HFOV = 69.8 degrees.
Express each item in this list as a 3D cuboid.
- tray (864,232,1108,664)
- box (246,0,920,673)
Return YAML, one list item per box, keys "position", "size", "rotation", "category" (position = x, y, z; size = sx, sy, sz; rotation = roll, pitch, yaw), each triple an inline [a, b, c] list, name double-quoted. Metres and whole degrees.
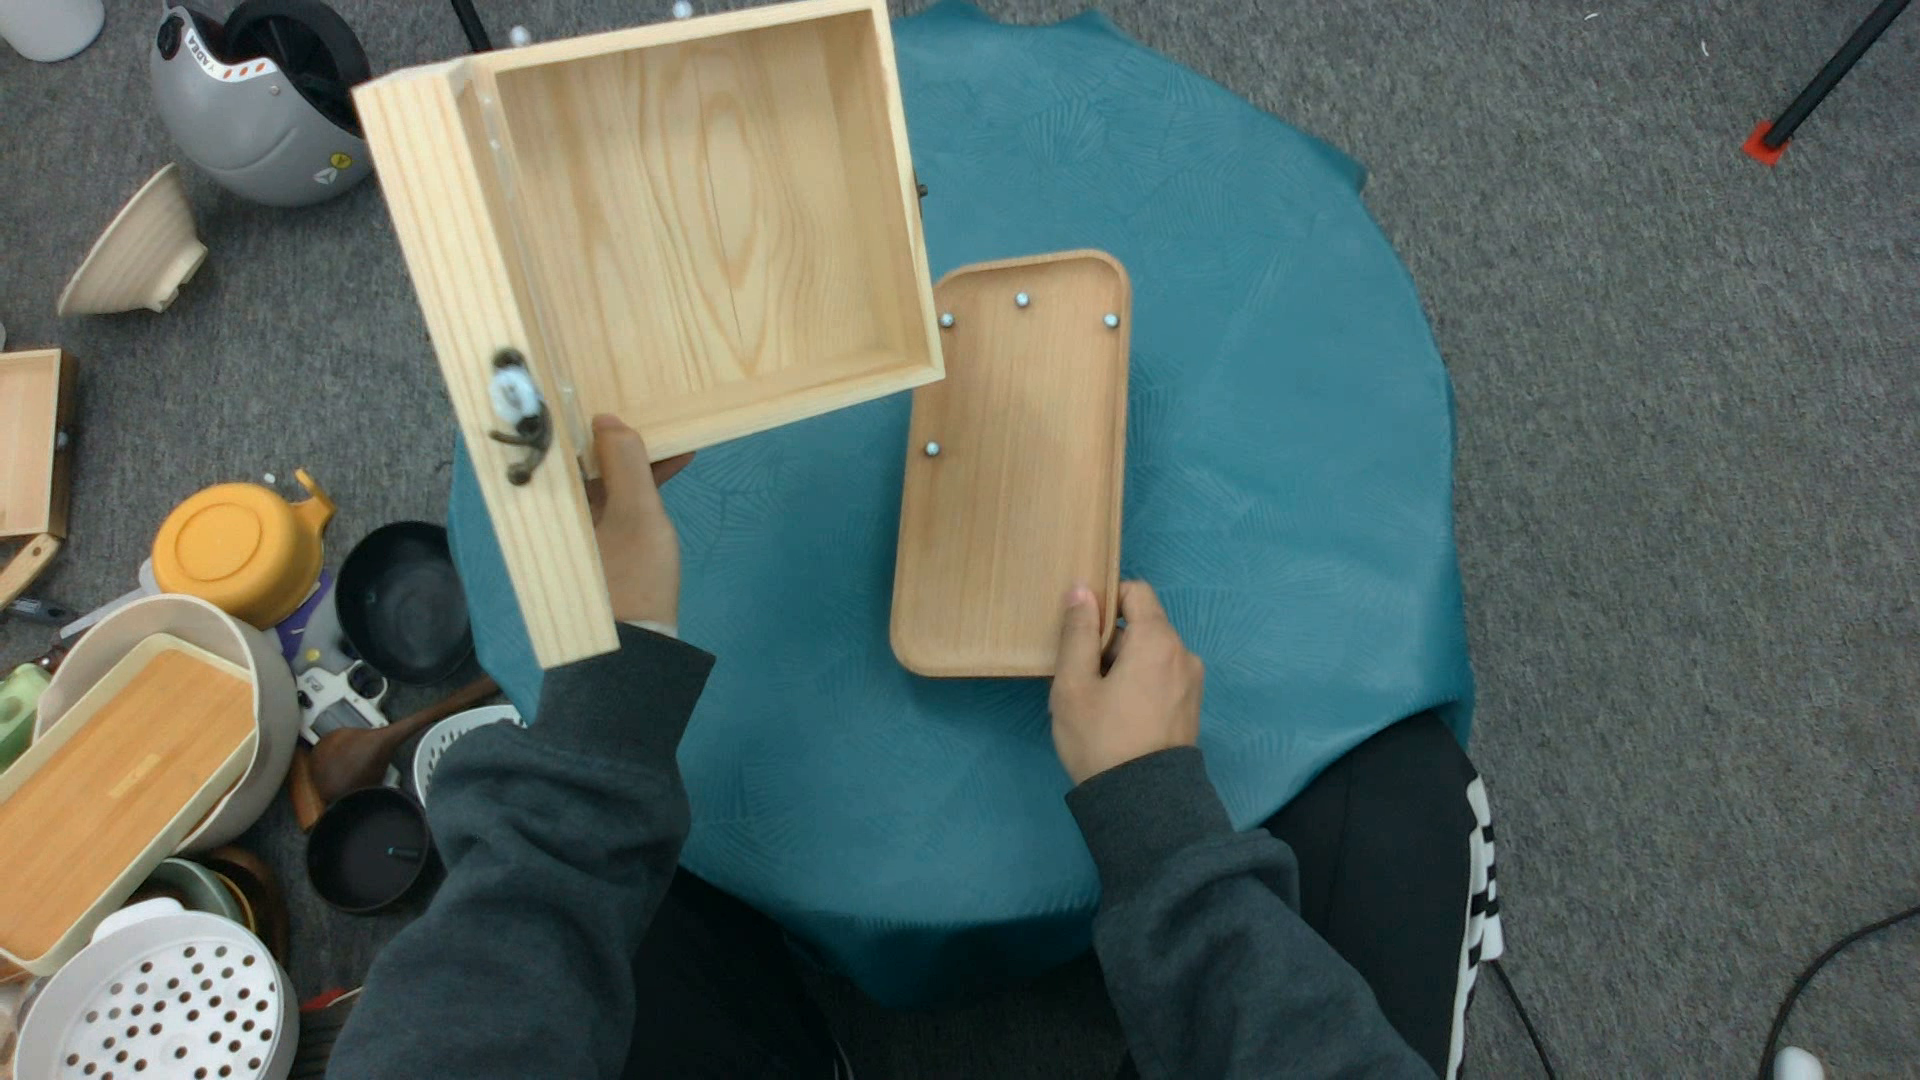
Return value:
- position: [0.017, -0.053, 0.758]
  size: [0.130, 0.023, 0.251]
  rotation: [-4, 69, 23]
  category: "tray"
- position: [-0.121, -0.116, 0.562]
  size: [0.266, 0.181, 0.253]
  rotation: [-19, 28, -20]
  category: "box"
